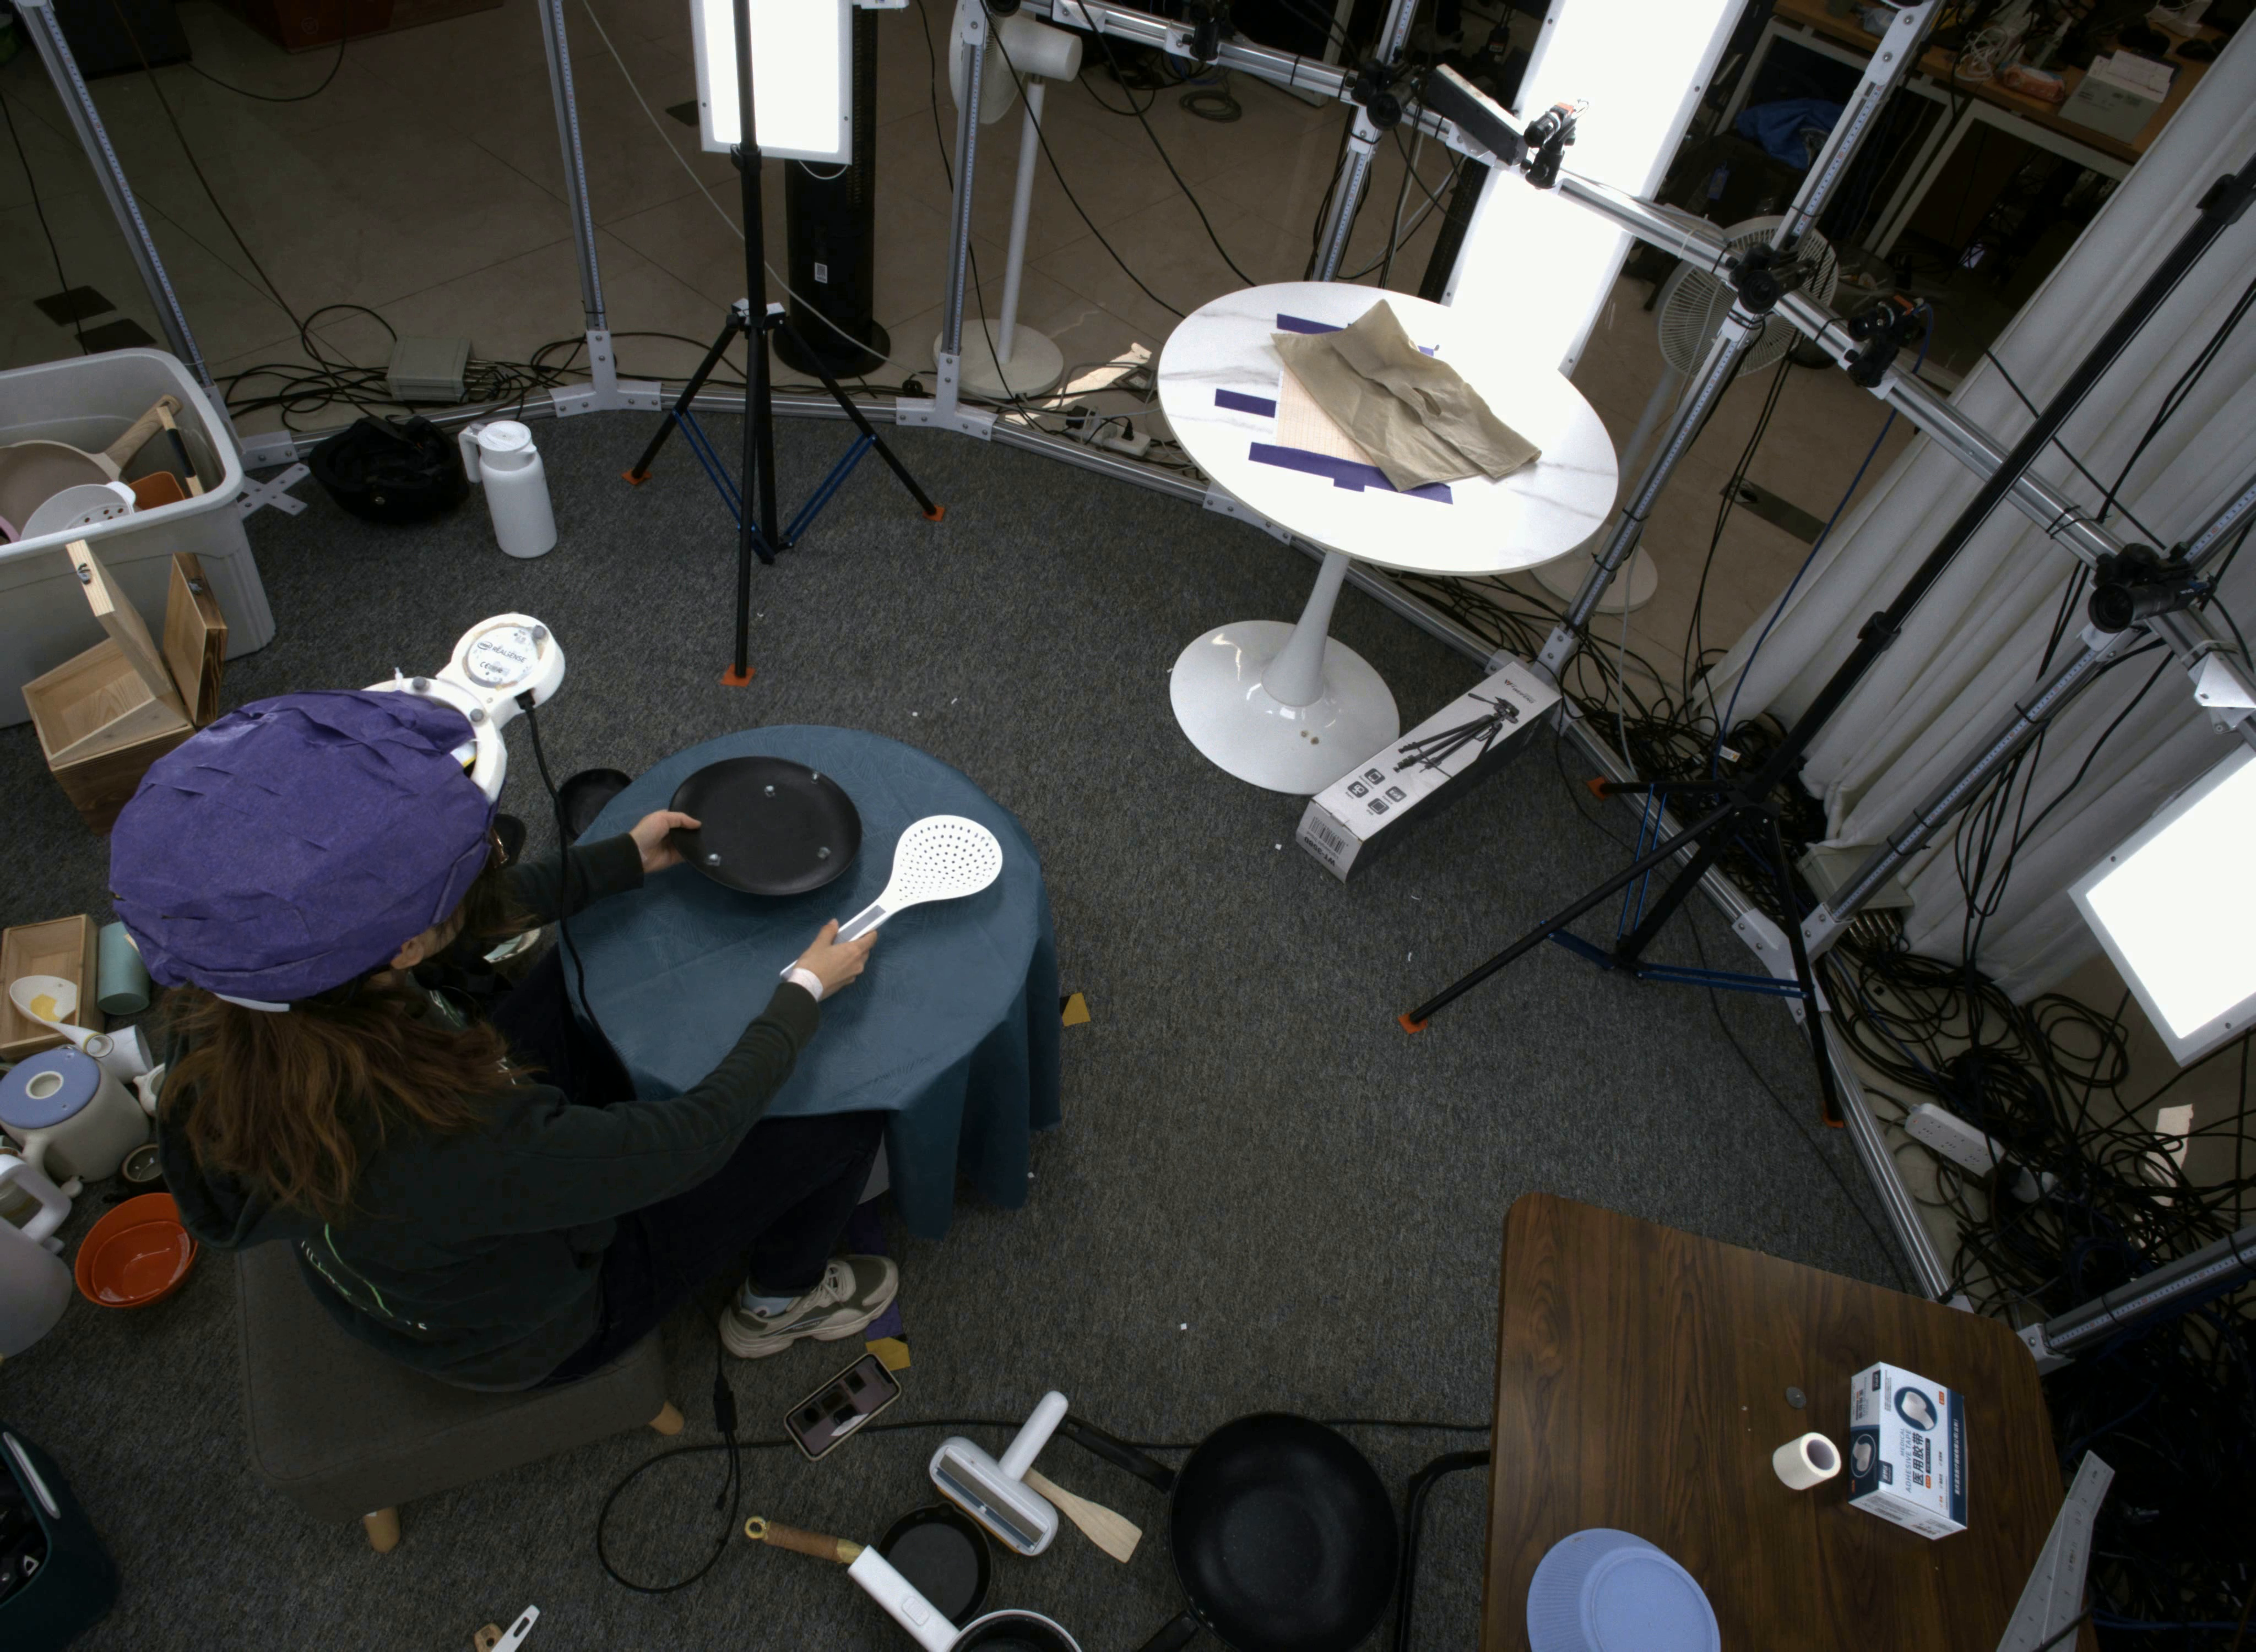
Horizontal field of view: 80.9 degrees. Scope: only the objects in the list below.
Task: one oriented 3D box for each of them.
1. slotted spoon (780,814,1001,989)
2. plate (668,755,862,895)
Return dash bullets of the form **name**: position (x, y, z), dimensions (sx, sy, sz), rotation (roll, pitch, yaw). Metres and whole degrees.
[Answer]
- **slotted spoon**: position (-0.298, 0.094, 1.635), dimensions (0.133, 0.046, 0.350), rotation (36, 45, 16)
- **plate**: position (-0.464, 0.000, 1.660), dimensions (0.245, 0.024, 0.239), rotation (15, 44, -13)
